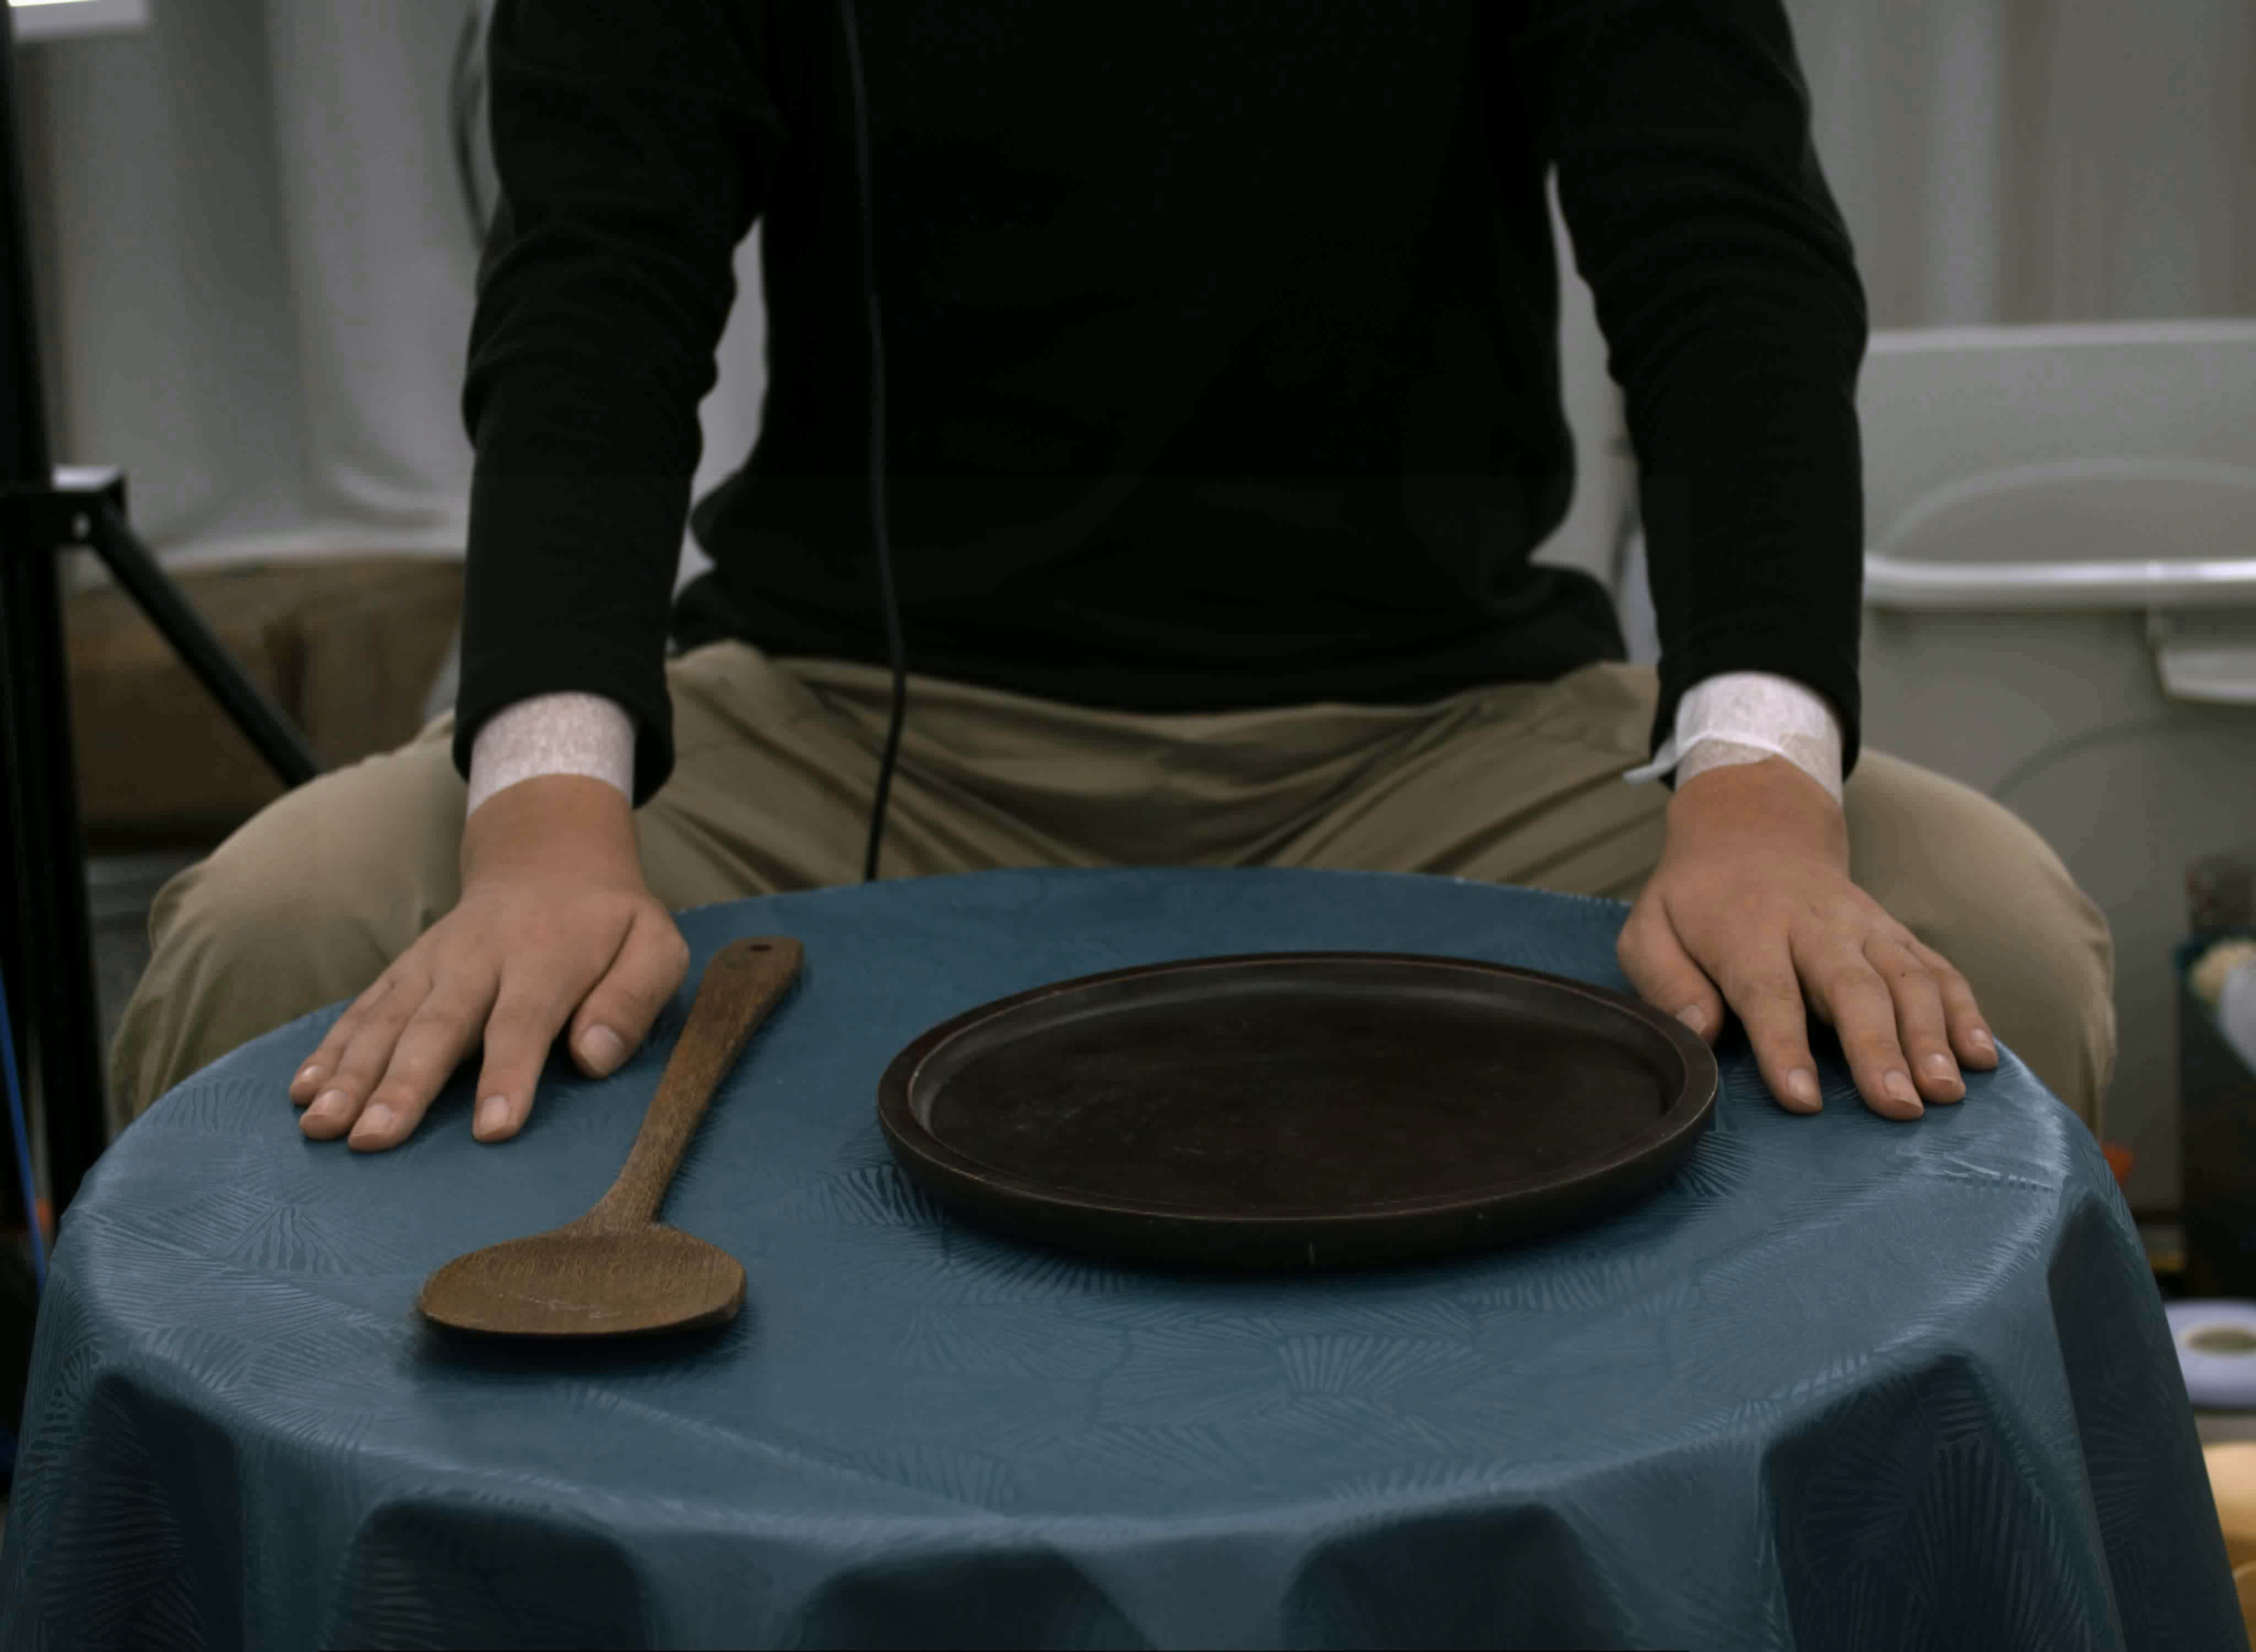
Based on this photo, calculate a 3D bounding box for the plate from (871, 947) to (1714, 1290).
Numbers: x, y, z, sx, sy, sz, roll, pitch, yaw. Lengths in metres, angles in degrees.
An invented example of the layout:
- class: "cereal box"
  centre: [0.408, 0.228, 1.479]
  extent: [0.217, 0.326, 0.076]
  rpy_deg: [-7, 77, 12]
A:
- class: "plate"
  centre: [0.050, 0.085, 1.591]
  extent: [0.253, 0.029, 0.256]
  rpy_deg: [-4, 17, 0]

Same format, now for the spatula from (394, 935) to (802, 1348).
- class: "spatula"
  centre: [-0.139, 0.089, 1.620]
  extent: [0.096, 0.016, 0.386]
  rpy_deg: [-1, 16, 5]
